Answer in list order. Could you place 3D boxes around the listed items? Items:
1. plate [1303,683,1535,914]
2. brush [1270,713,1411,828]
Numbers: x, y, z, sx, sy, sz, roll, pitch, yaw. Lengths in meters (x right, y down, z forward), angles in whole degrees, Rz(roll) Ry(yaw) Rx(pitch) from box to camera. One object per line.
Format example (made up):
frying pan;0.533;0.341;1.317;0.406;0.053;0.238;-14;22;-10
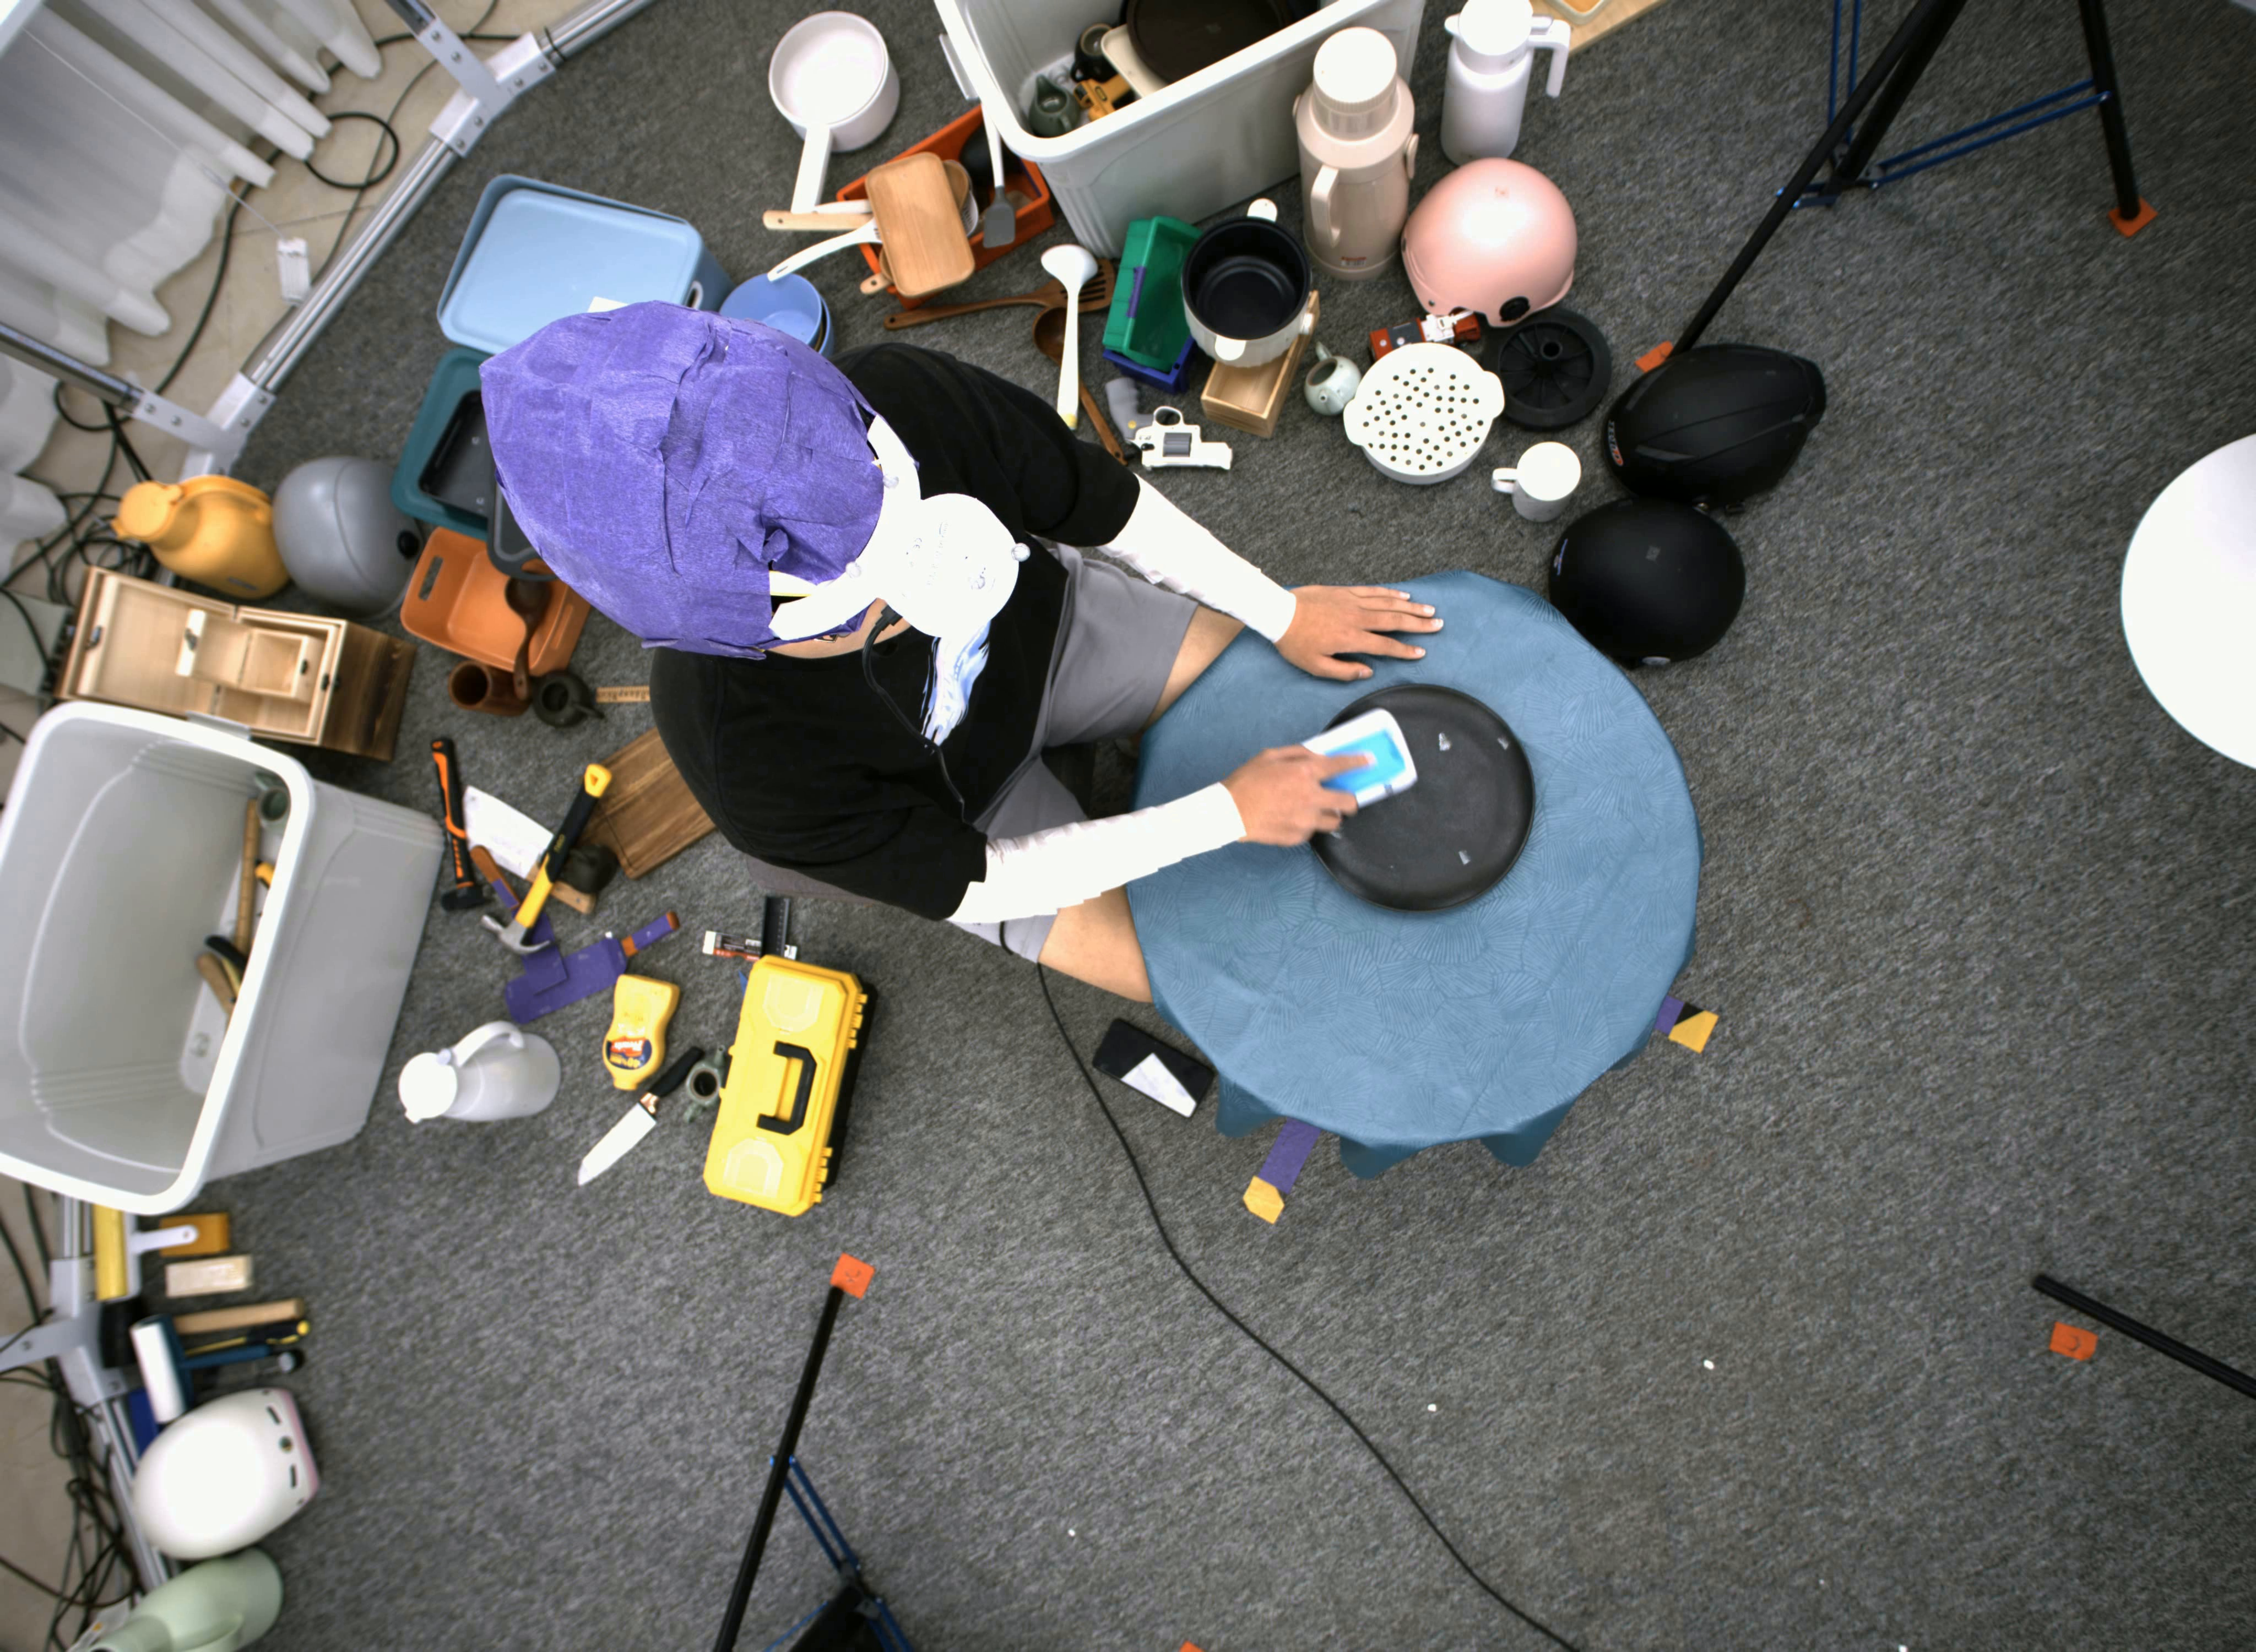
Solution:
plate;0.302;-0.030;1.446;0.245;0.023;0.243;-1;87;11
brush;0.222;-0.062;1.417;0.143;0.056;0.084;-26;89;-10
